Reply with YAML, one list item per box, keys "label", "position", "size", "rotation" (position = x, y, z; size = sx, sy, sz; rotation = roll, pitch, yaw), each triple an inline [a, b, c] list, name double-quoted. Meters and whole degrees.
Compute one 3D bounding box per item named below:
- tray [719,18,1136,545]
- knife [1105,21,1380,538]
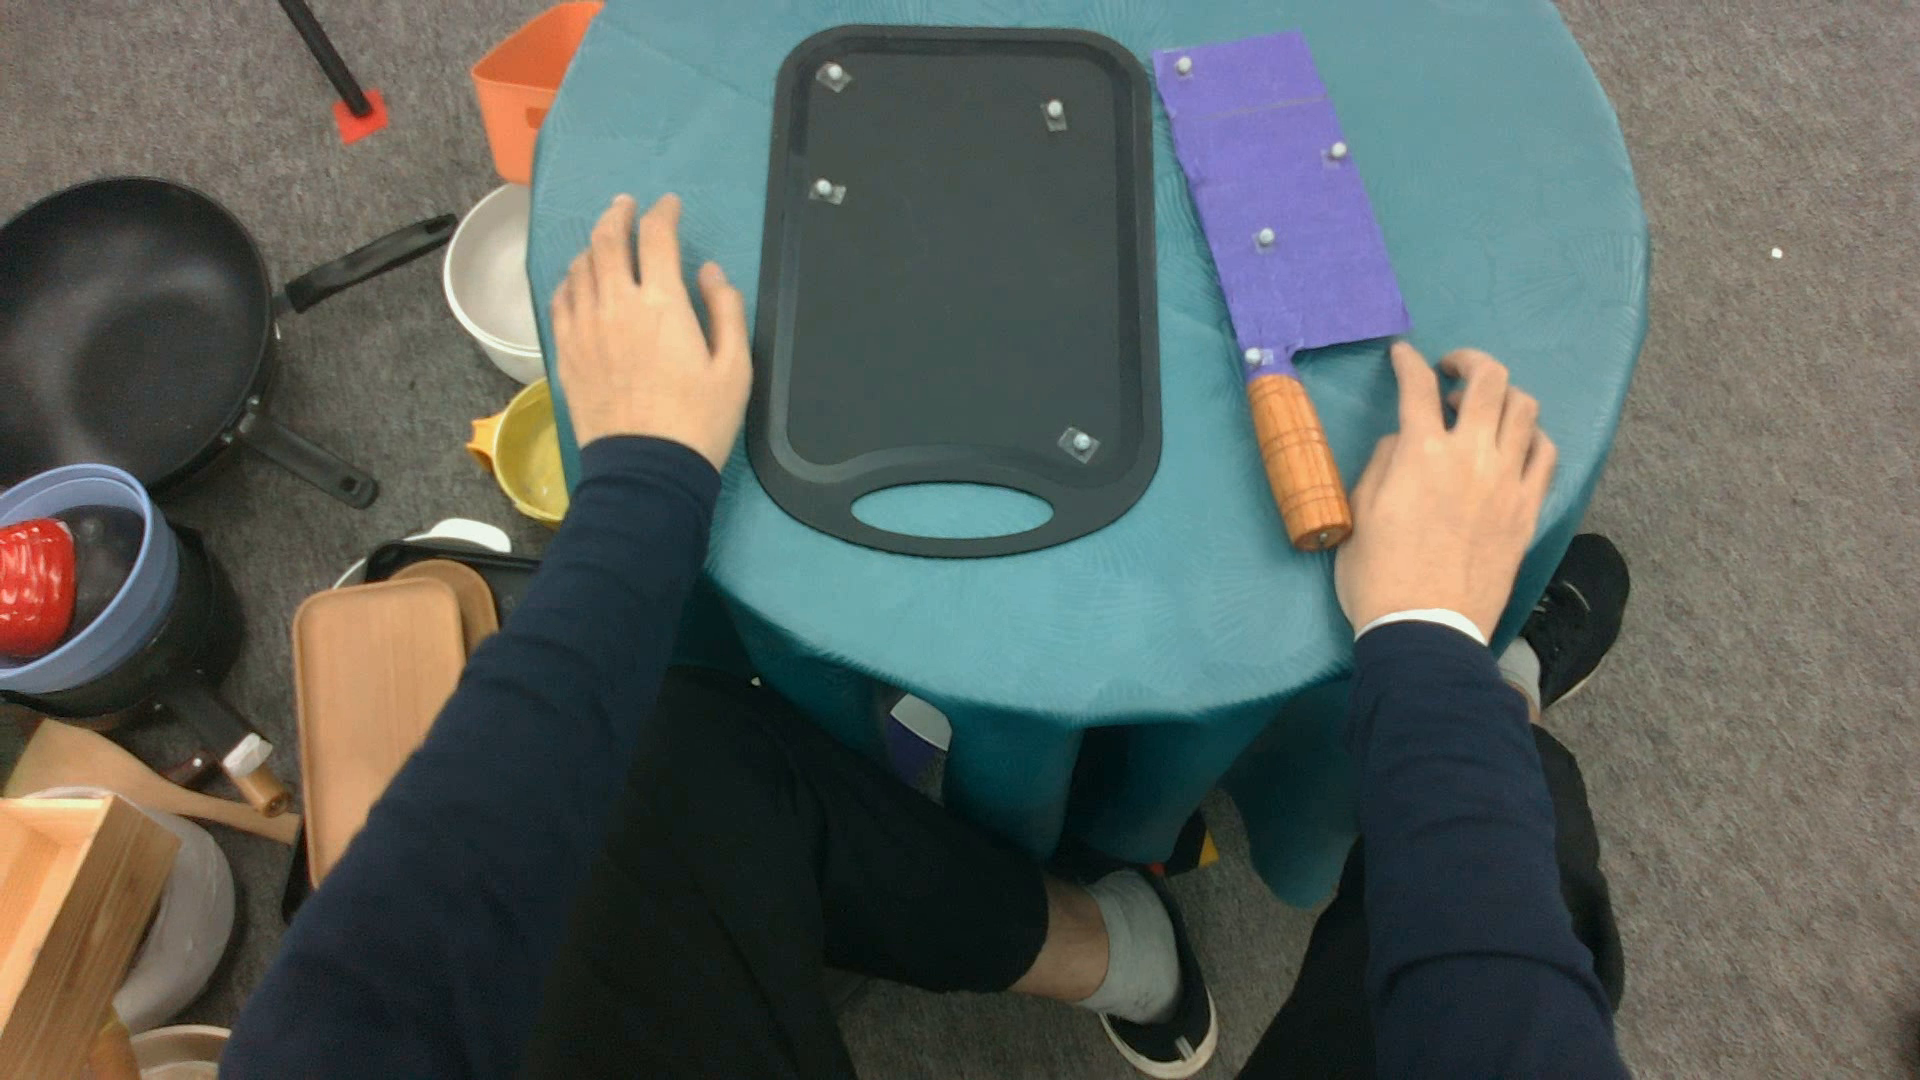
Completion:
- label: "tray"
  position: [-0.013, -0.149, 0.727]
  size: [0.211, 0.010, 0.326]
  rotation: [2, 67, 0]
- label: "knife"
  position: [0.163, -0.153, 0.721]
  size: [0.104, 0.032, 0.316]
  rotation: [-11, 67, -5]
